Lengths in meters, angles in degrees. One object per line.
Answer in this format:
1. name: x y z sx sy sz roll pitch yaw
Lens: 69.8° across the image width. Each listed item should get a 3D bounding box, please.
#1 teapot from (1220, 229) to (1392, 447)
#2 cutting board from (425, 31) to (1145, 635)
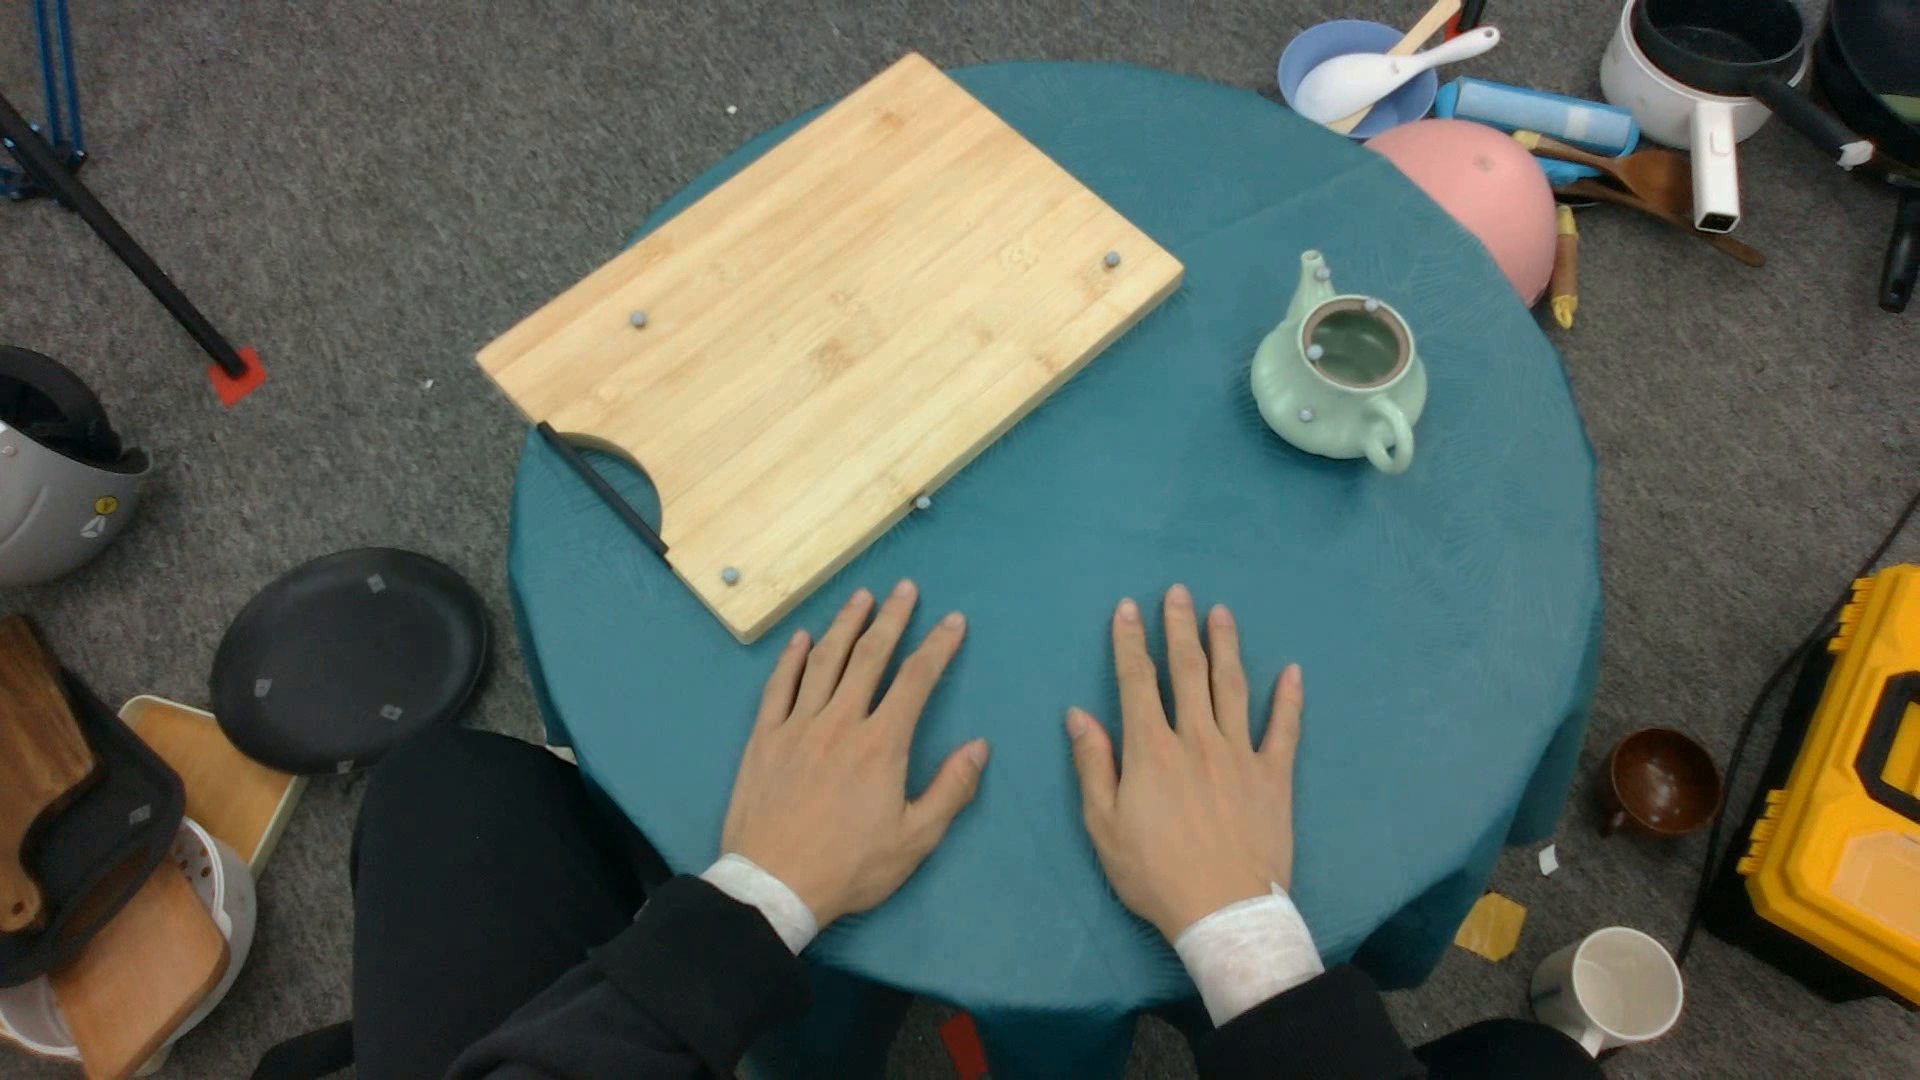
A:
1. teapot: 0.197 -0.105 0.765 0.096 0.061 0.137 -18 65 -11
2. cutting board: -0.094 -0.138 0.802 0.251 0.023 0.350 41 70 18
